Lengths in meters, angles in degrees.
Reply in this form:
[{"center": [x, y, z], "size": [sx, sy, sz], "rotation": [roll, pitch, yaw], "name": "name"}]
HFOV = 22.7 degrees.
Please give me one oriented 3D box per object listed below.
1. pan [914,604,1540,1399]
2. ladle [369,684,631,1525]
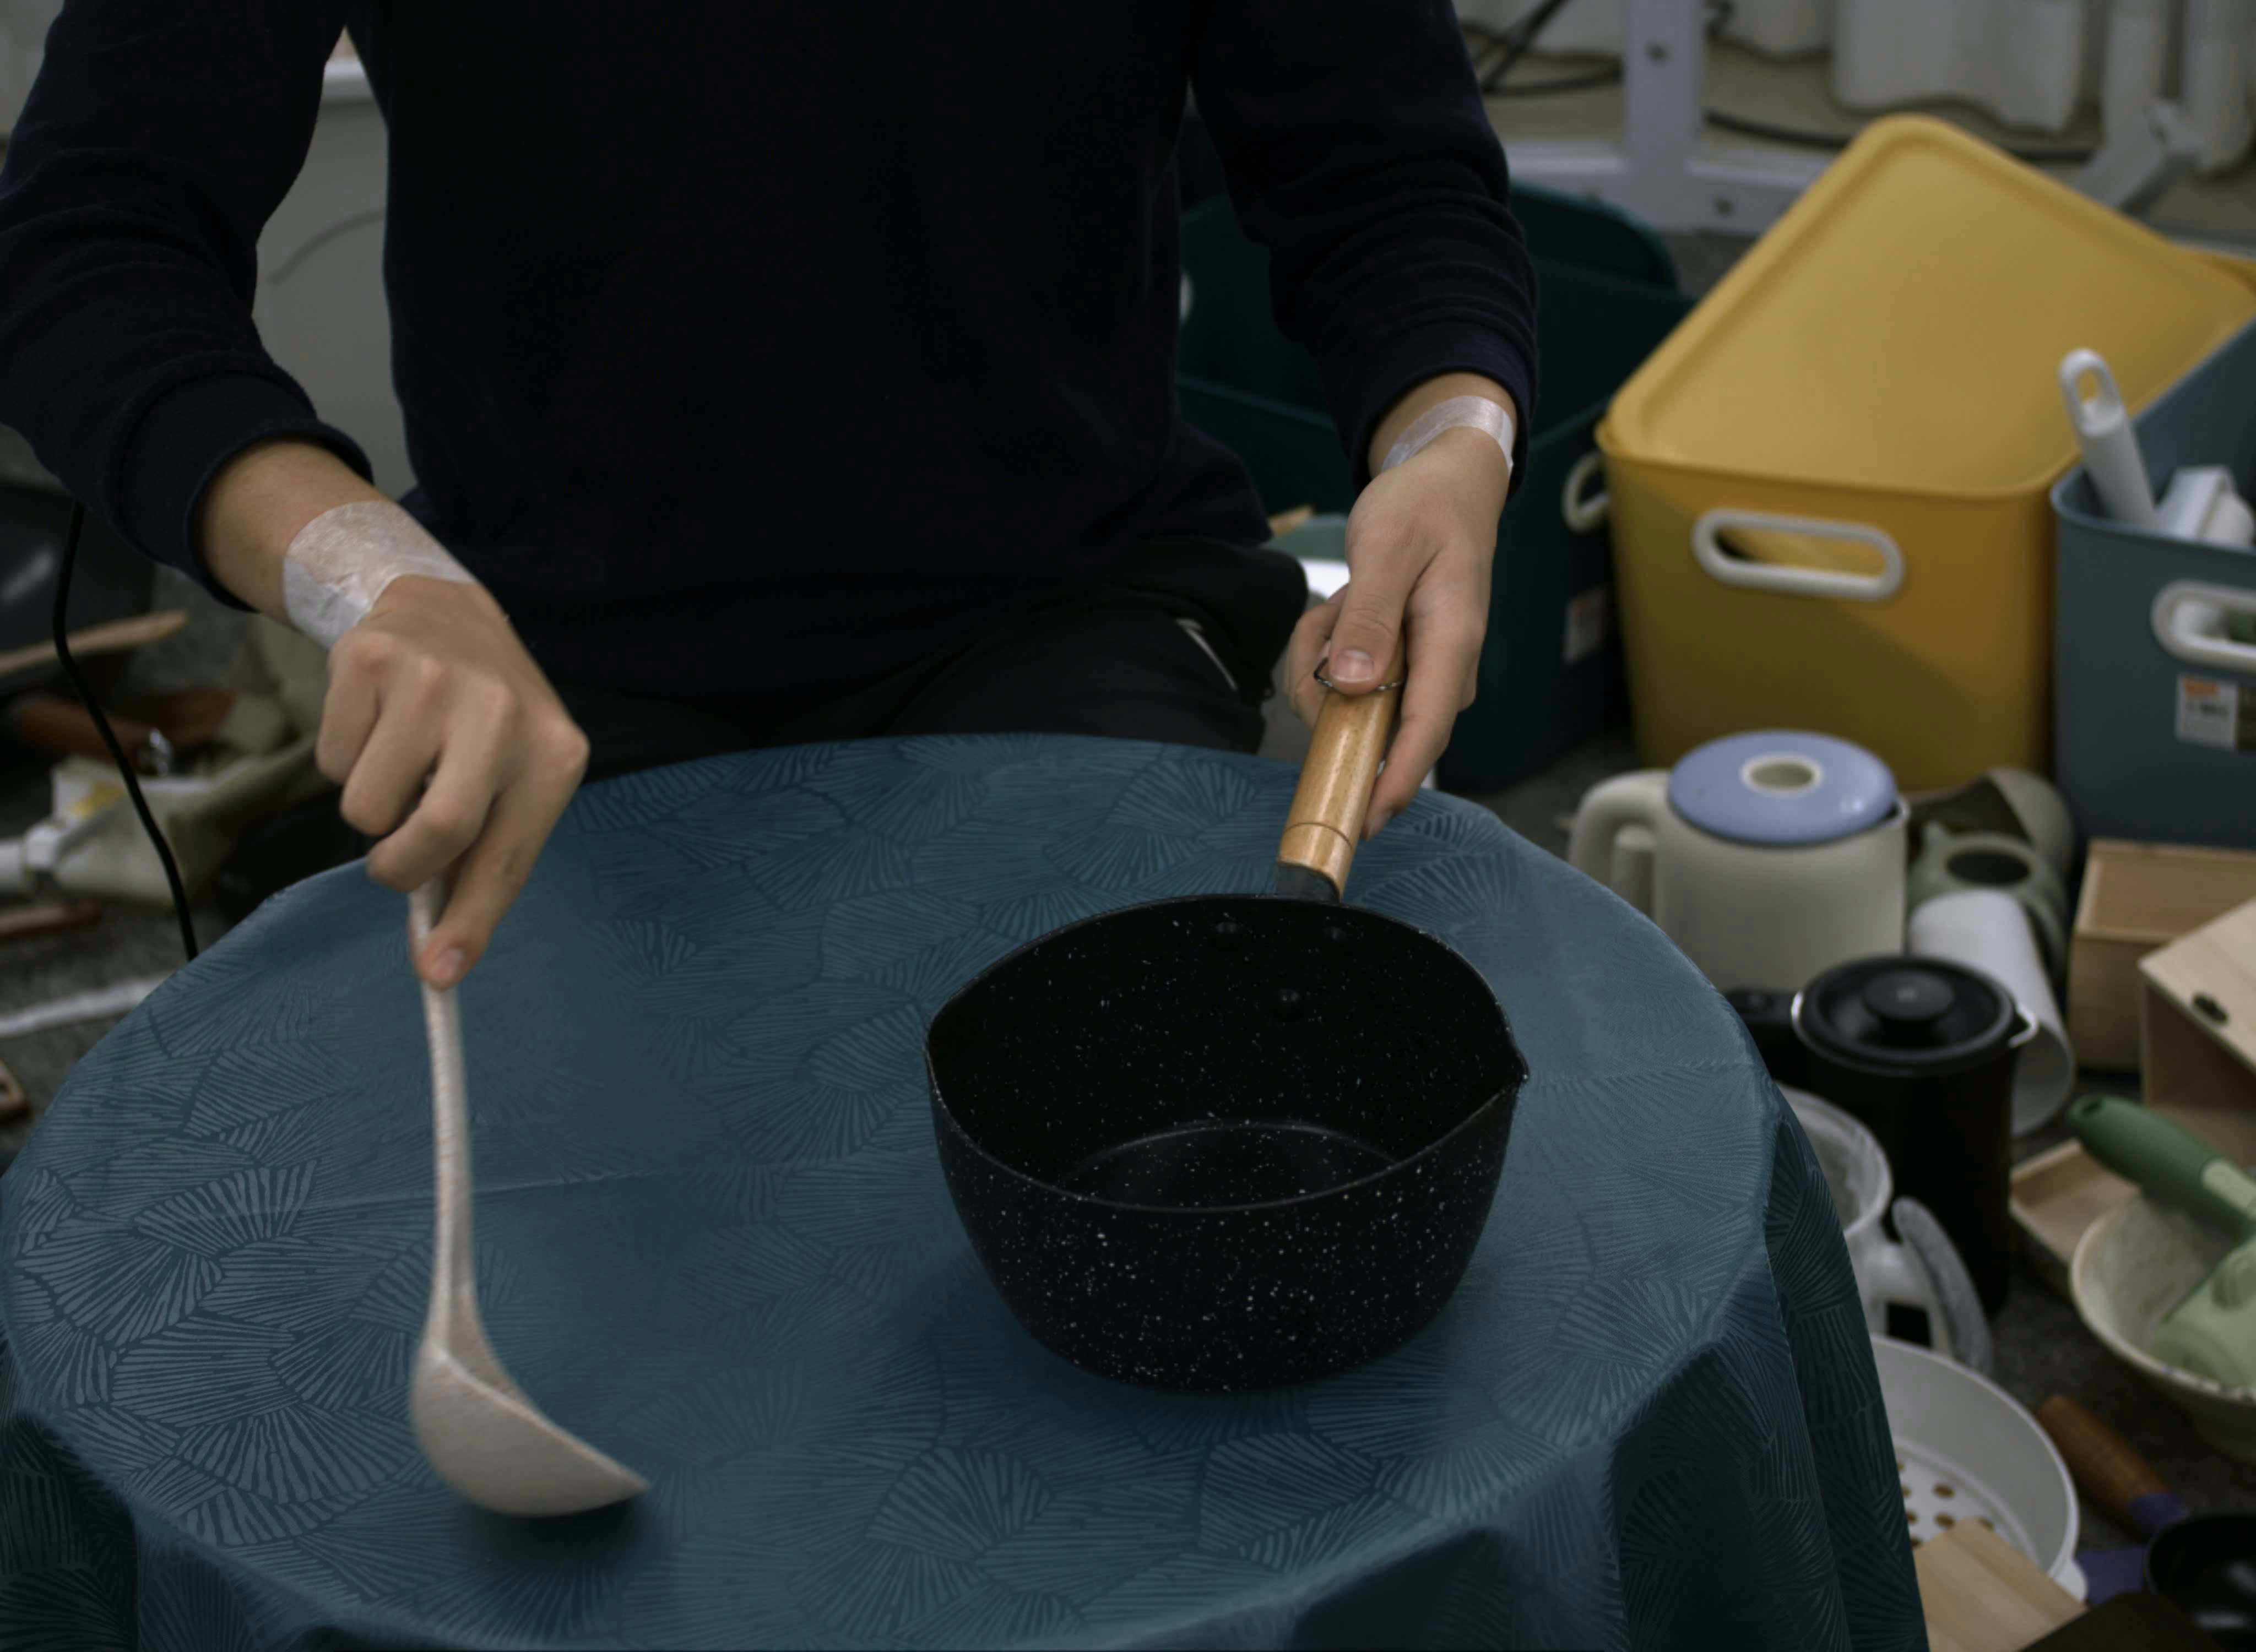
[{"center": [0.048, 0.054, 1.858], "size": [0.206, 0.107, 0.349], "rotation": [3, 32, 13], "name": "pan"}, {"center": [-0.195, 0.080, 1.730], "size": [0.069, 0.089, 0.279], "rotation": [-11, 68, 15], "name": "ladle"}]
